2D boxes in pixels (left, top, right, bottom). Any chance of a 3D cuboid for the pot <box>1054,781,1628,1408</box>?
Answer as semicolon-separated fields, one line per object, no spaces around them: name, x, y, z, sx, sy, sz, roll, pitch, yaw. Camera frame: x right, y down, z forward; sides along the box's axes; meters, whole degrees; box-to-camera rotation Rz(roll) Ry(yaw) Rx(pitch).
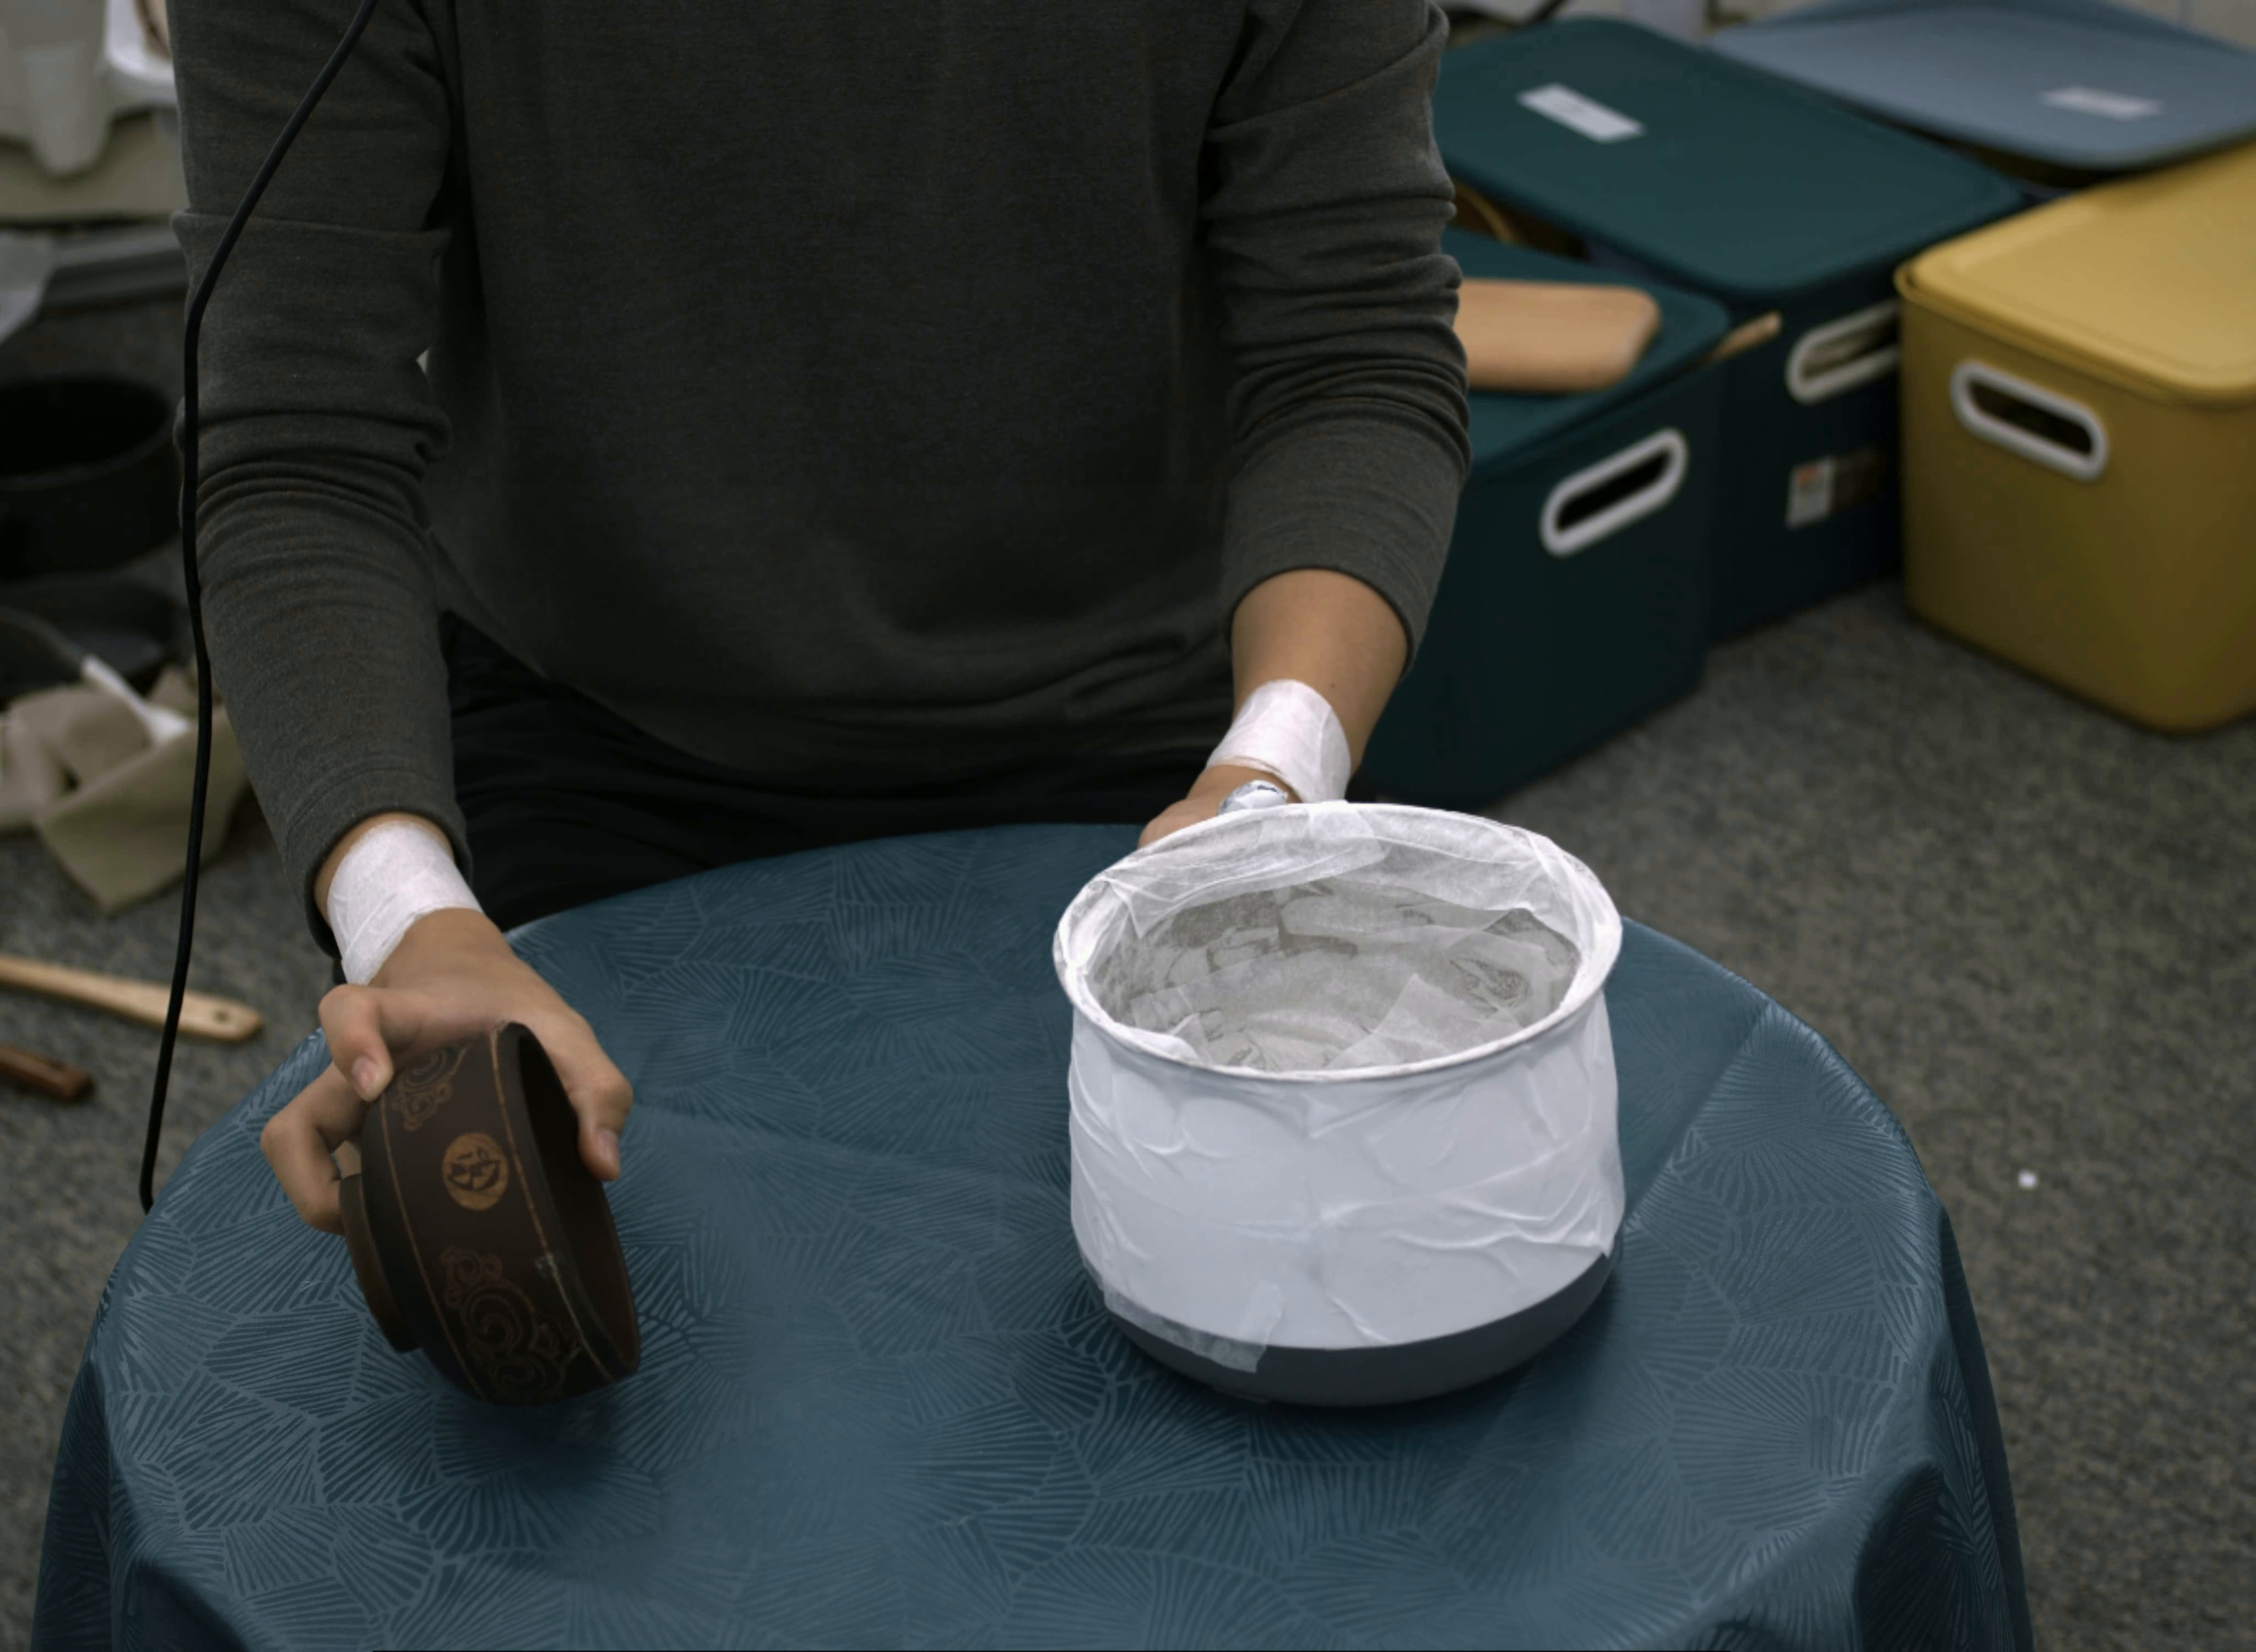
pot;0.061;0.078;1.795;0.178;0.135;0.236;-9;26;-12

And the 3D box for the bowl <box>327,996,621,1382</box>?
bowl;-0.208;0.118;1.744;0.070;0.117;0.119;-18;29;-6
